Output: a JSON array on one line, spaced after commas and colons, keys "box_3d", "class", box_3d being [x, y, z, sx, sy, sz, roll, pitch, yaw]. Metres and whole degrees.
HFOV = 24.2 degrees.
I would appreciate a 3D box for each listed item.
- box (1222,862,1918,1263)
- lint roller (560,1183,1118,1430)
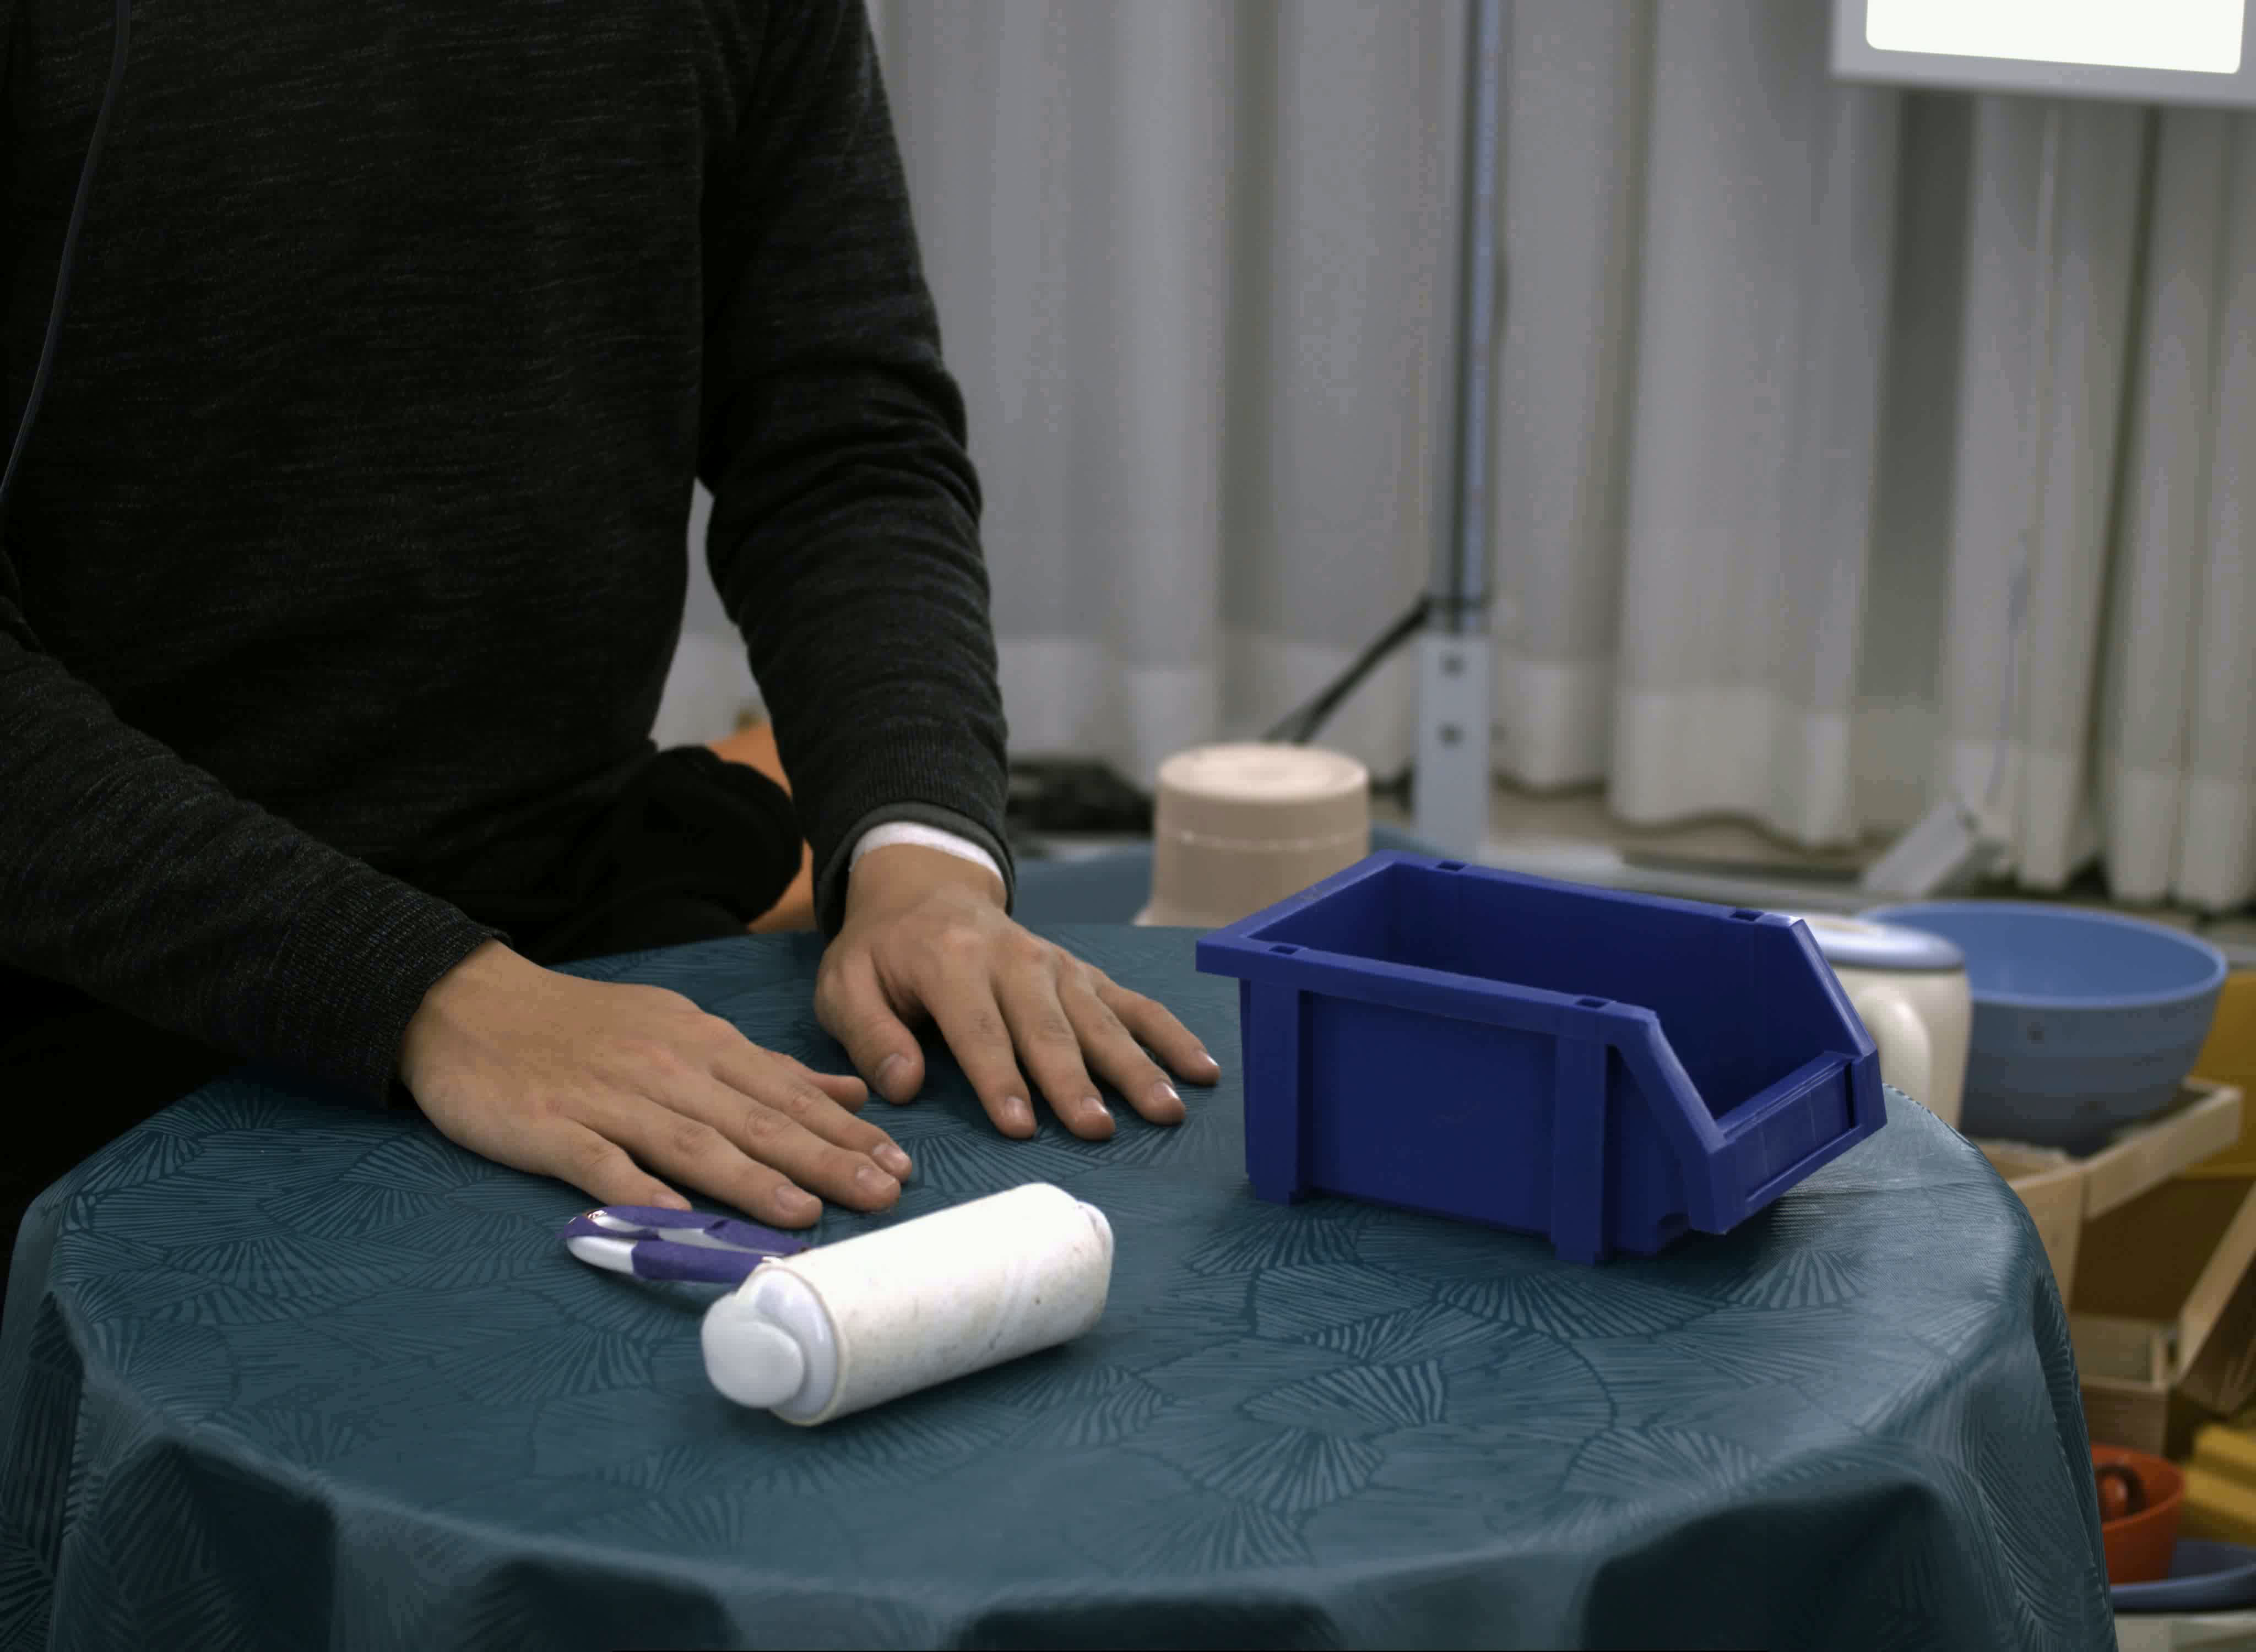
[{"box_3d": [0.137, 0.072, 1.617, 0.177, 0.082, 0.125, 7, 16, 31], "class": "box"}, {"box_3d": [-0.101, 0.118, 1.506, 0.133, 0.050, 0.178, -14, 23, -40], "class": "lint roller"}]
